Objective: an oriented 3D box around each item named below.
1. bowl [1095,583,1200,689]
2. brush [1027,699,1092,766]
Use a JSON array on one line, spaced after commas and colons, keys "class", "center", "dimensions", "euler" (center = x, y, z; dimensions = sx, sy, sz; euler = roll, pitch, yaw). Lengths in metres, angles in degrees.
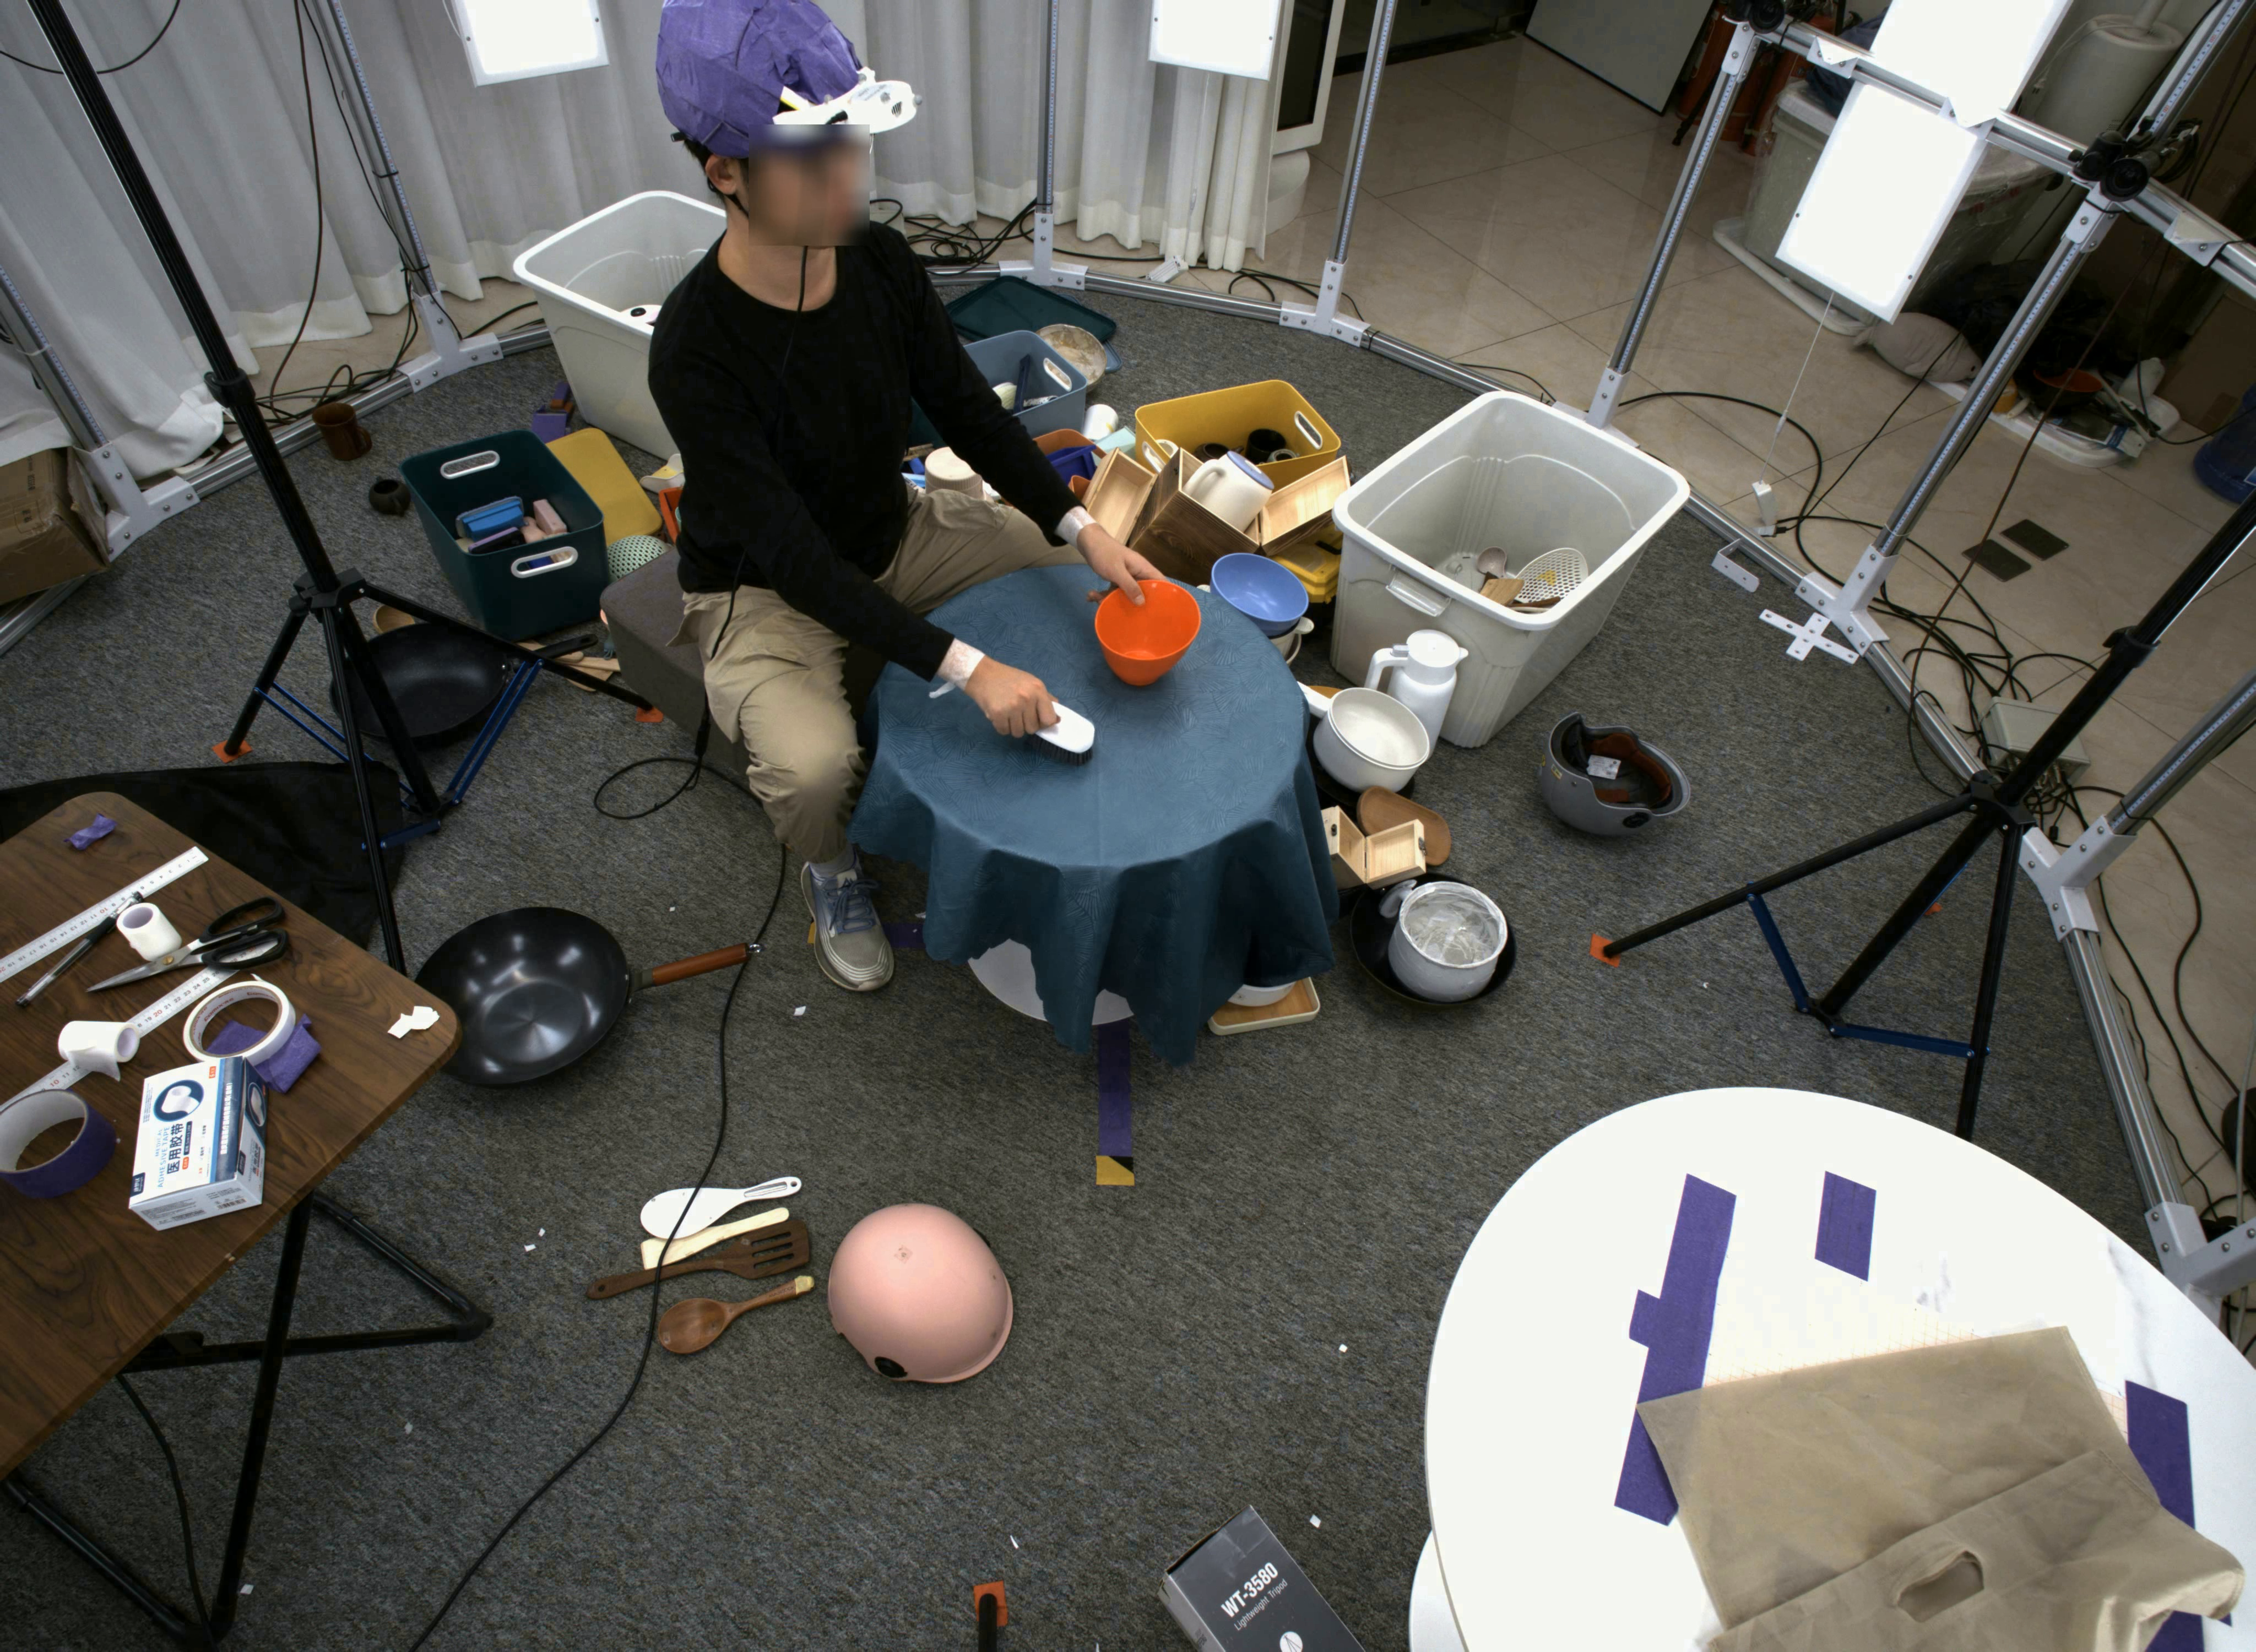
[{"class": "bowl", "center": [0.026, -0.262, 1.836], "dimensions": [0.148, 0.102, 0.152], "euler": [1, 49, -1]}, {"class": "brush", "center": [-0.093, -0.134, 1.731], "dimensions": [0.100, 0.071, 0.051], "euler": [31, 56, 18]}]
